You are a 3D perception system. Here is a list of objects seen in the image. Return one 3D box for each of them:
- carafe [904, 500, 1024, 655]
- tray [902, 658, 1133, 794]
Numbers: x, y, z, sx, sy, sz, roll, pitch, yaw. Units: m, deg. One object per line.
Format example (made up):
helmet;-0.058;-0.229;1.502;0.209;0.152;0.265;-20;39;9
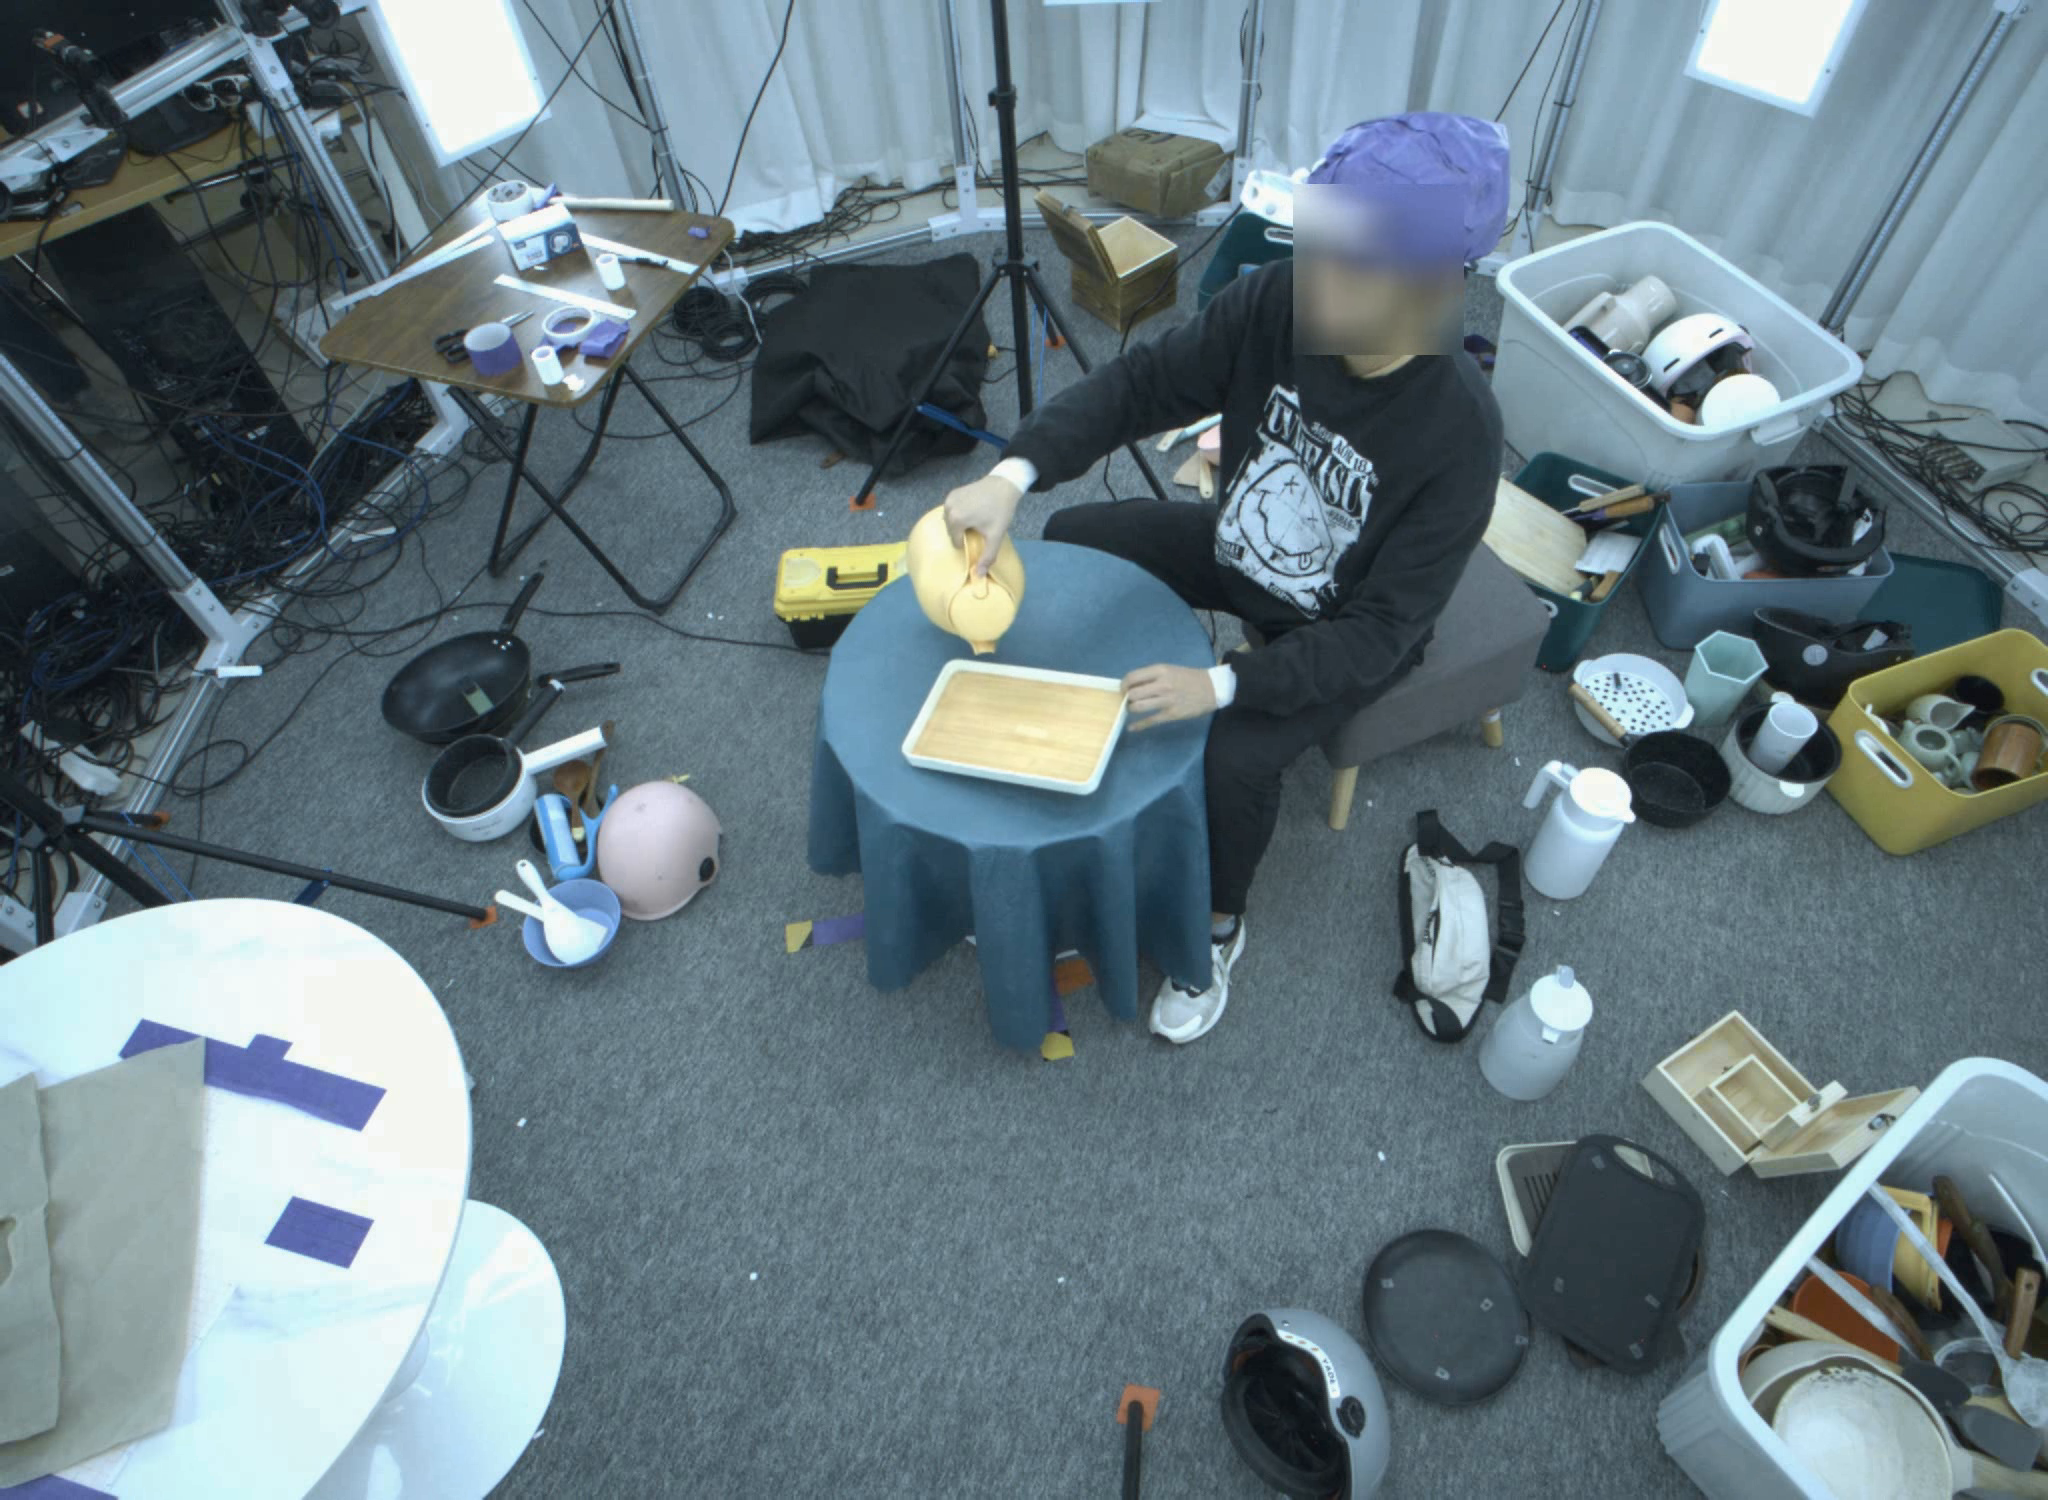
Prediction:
carafe;-0.082;-0.268;1.771;0.165;0.204;0.256;-8;34;-11
tray;-0.010;-0.039;1.762;0.296;0.028;0.191;10;56;21
